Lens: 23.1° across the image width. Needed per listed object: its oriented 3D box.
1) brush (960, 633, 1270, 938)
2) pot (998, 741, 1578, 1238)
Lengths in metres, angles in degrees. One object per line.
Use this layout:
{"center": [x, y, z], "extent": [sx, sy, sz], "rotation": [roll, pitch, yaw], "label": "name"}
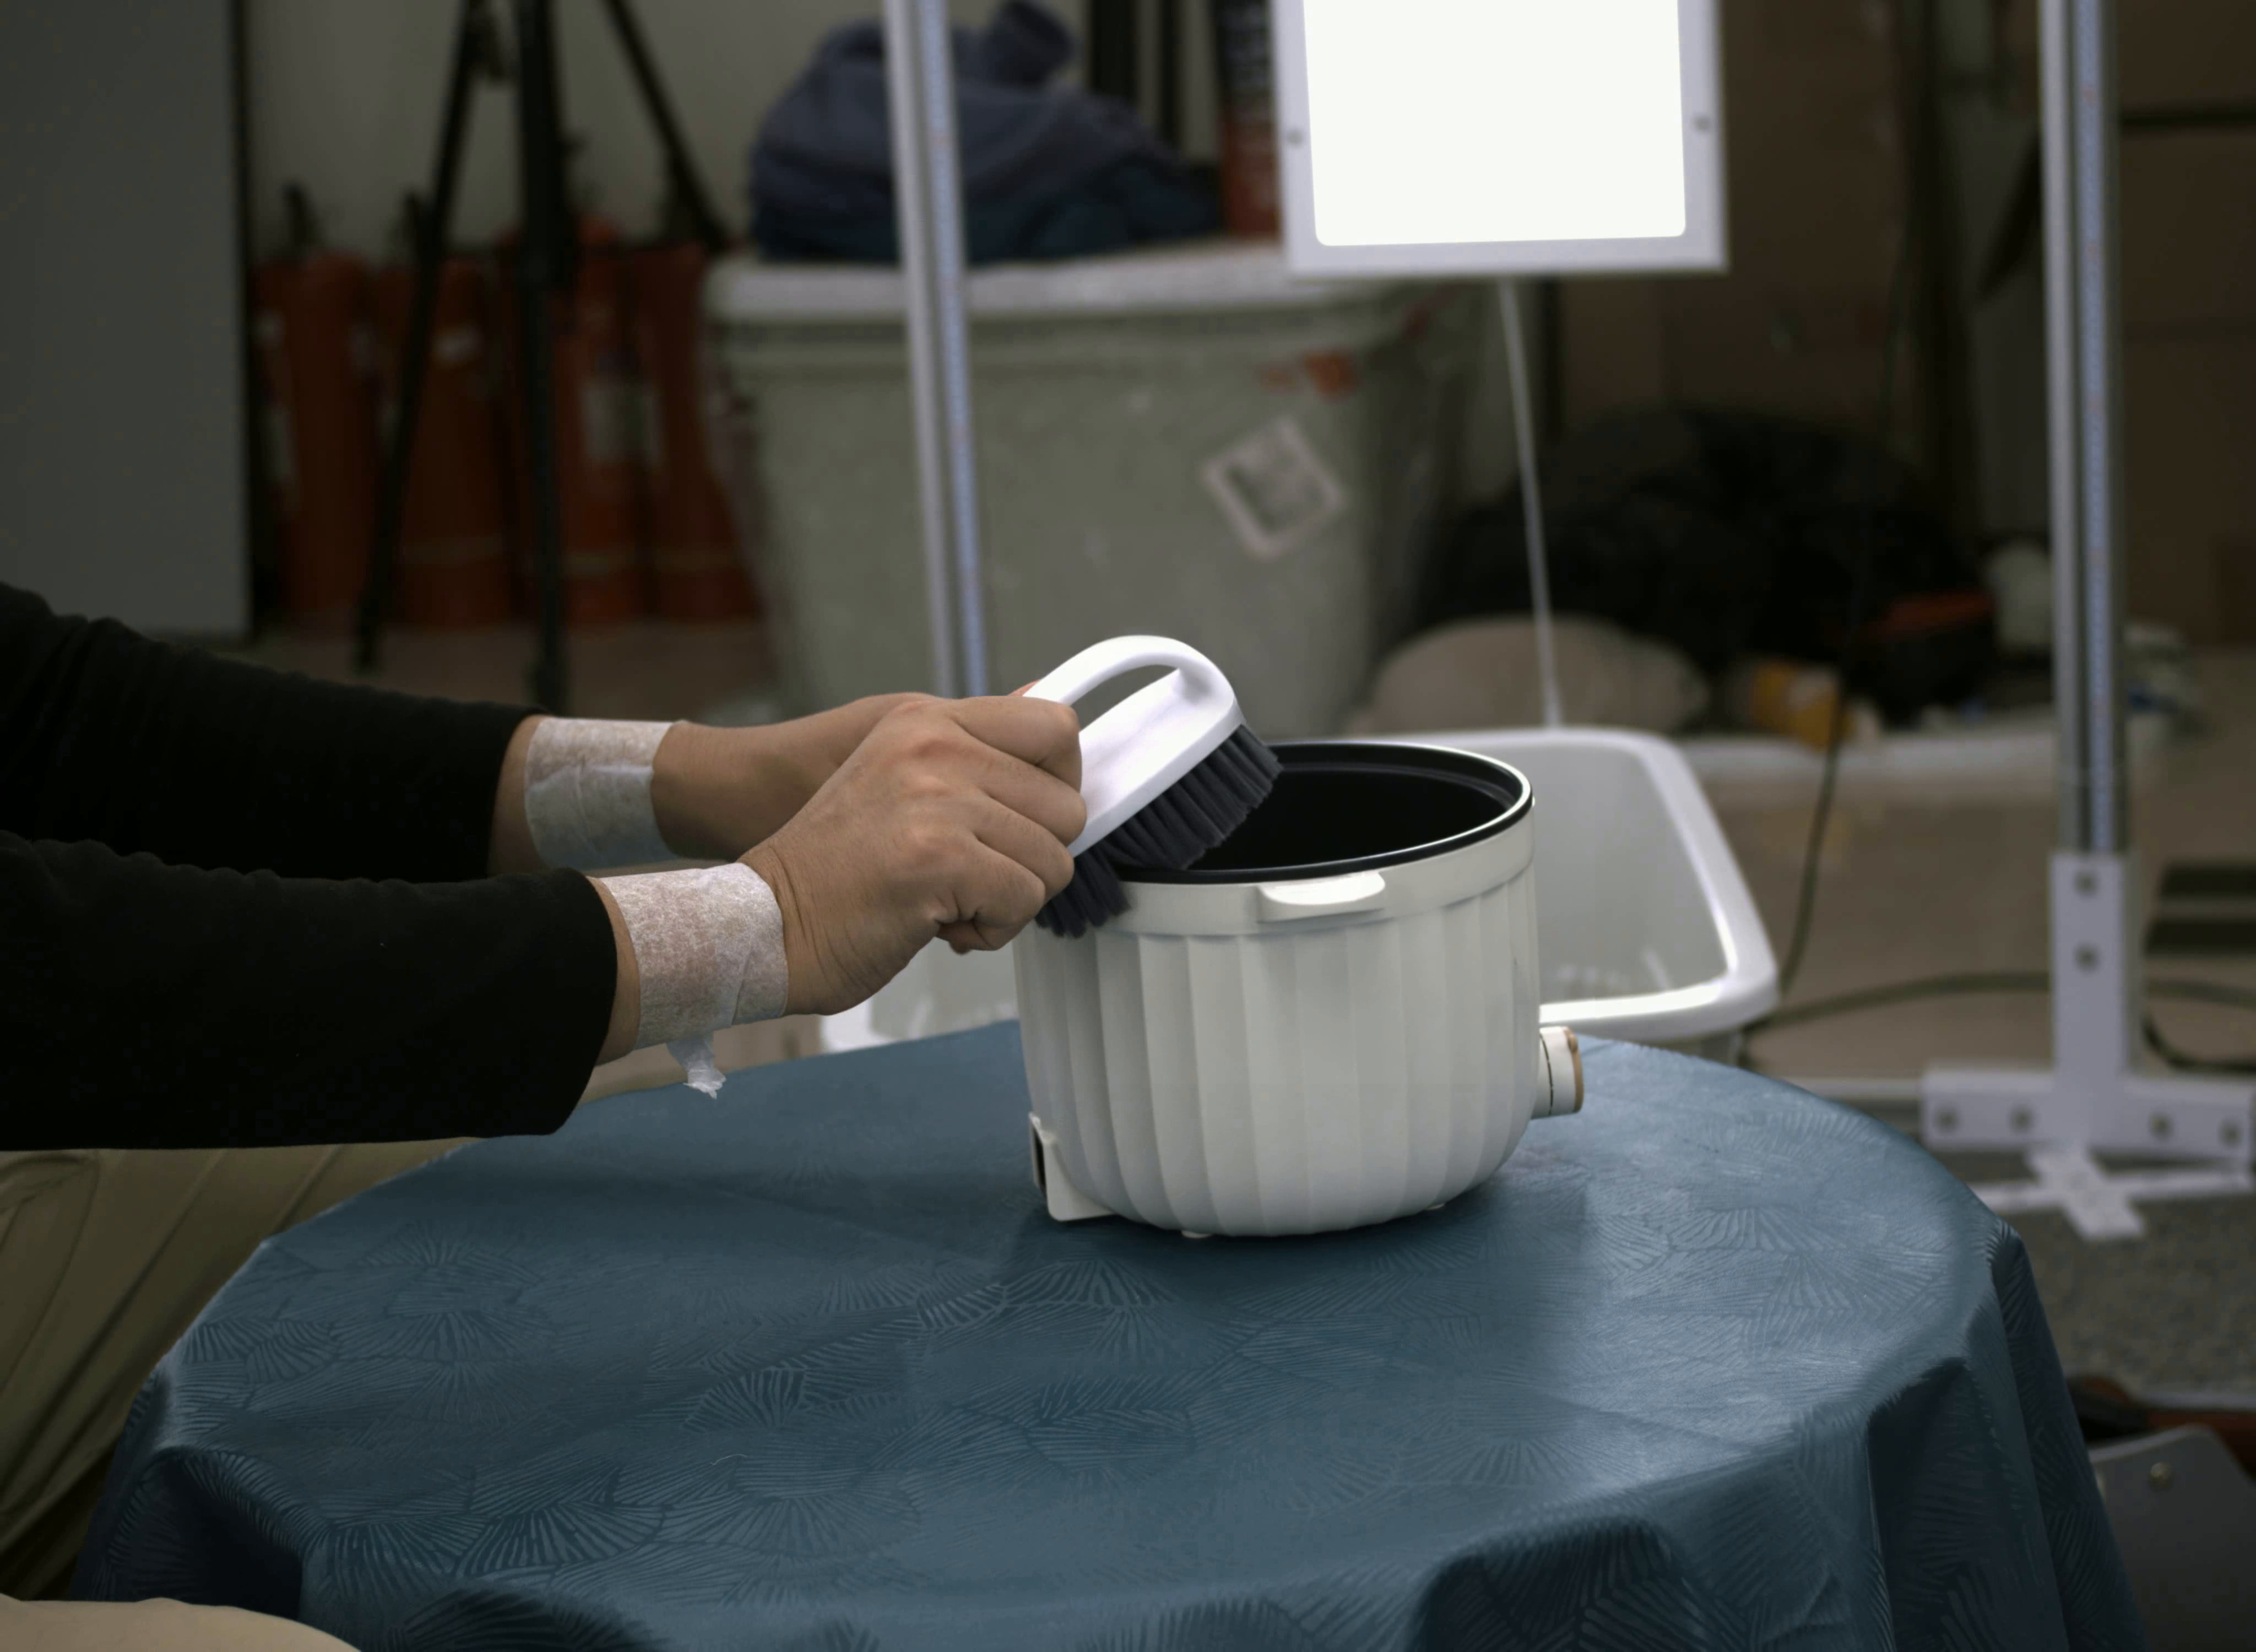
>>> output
{"center": [-0.010, -0.020, 1.787], "extent": [0.098, 0.072, 0.051], "rotation": [-37, 33, -7], "label": "brush"}
{"center": [0.055, 0.056, 1.875], "extent": [0.189, 0.143, 0.241], "rotation": [-9, 15, -7], "label": "pot"}
